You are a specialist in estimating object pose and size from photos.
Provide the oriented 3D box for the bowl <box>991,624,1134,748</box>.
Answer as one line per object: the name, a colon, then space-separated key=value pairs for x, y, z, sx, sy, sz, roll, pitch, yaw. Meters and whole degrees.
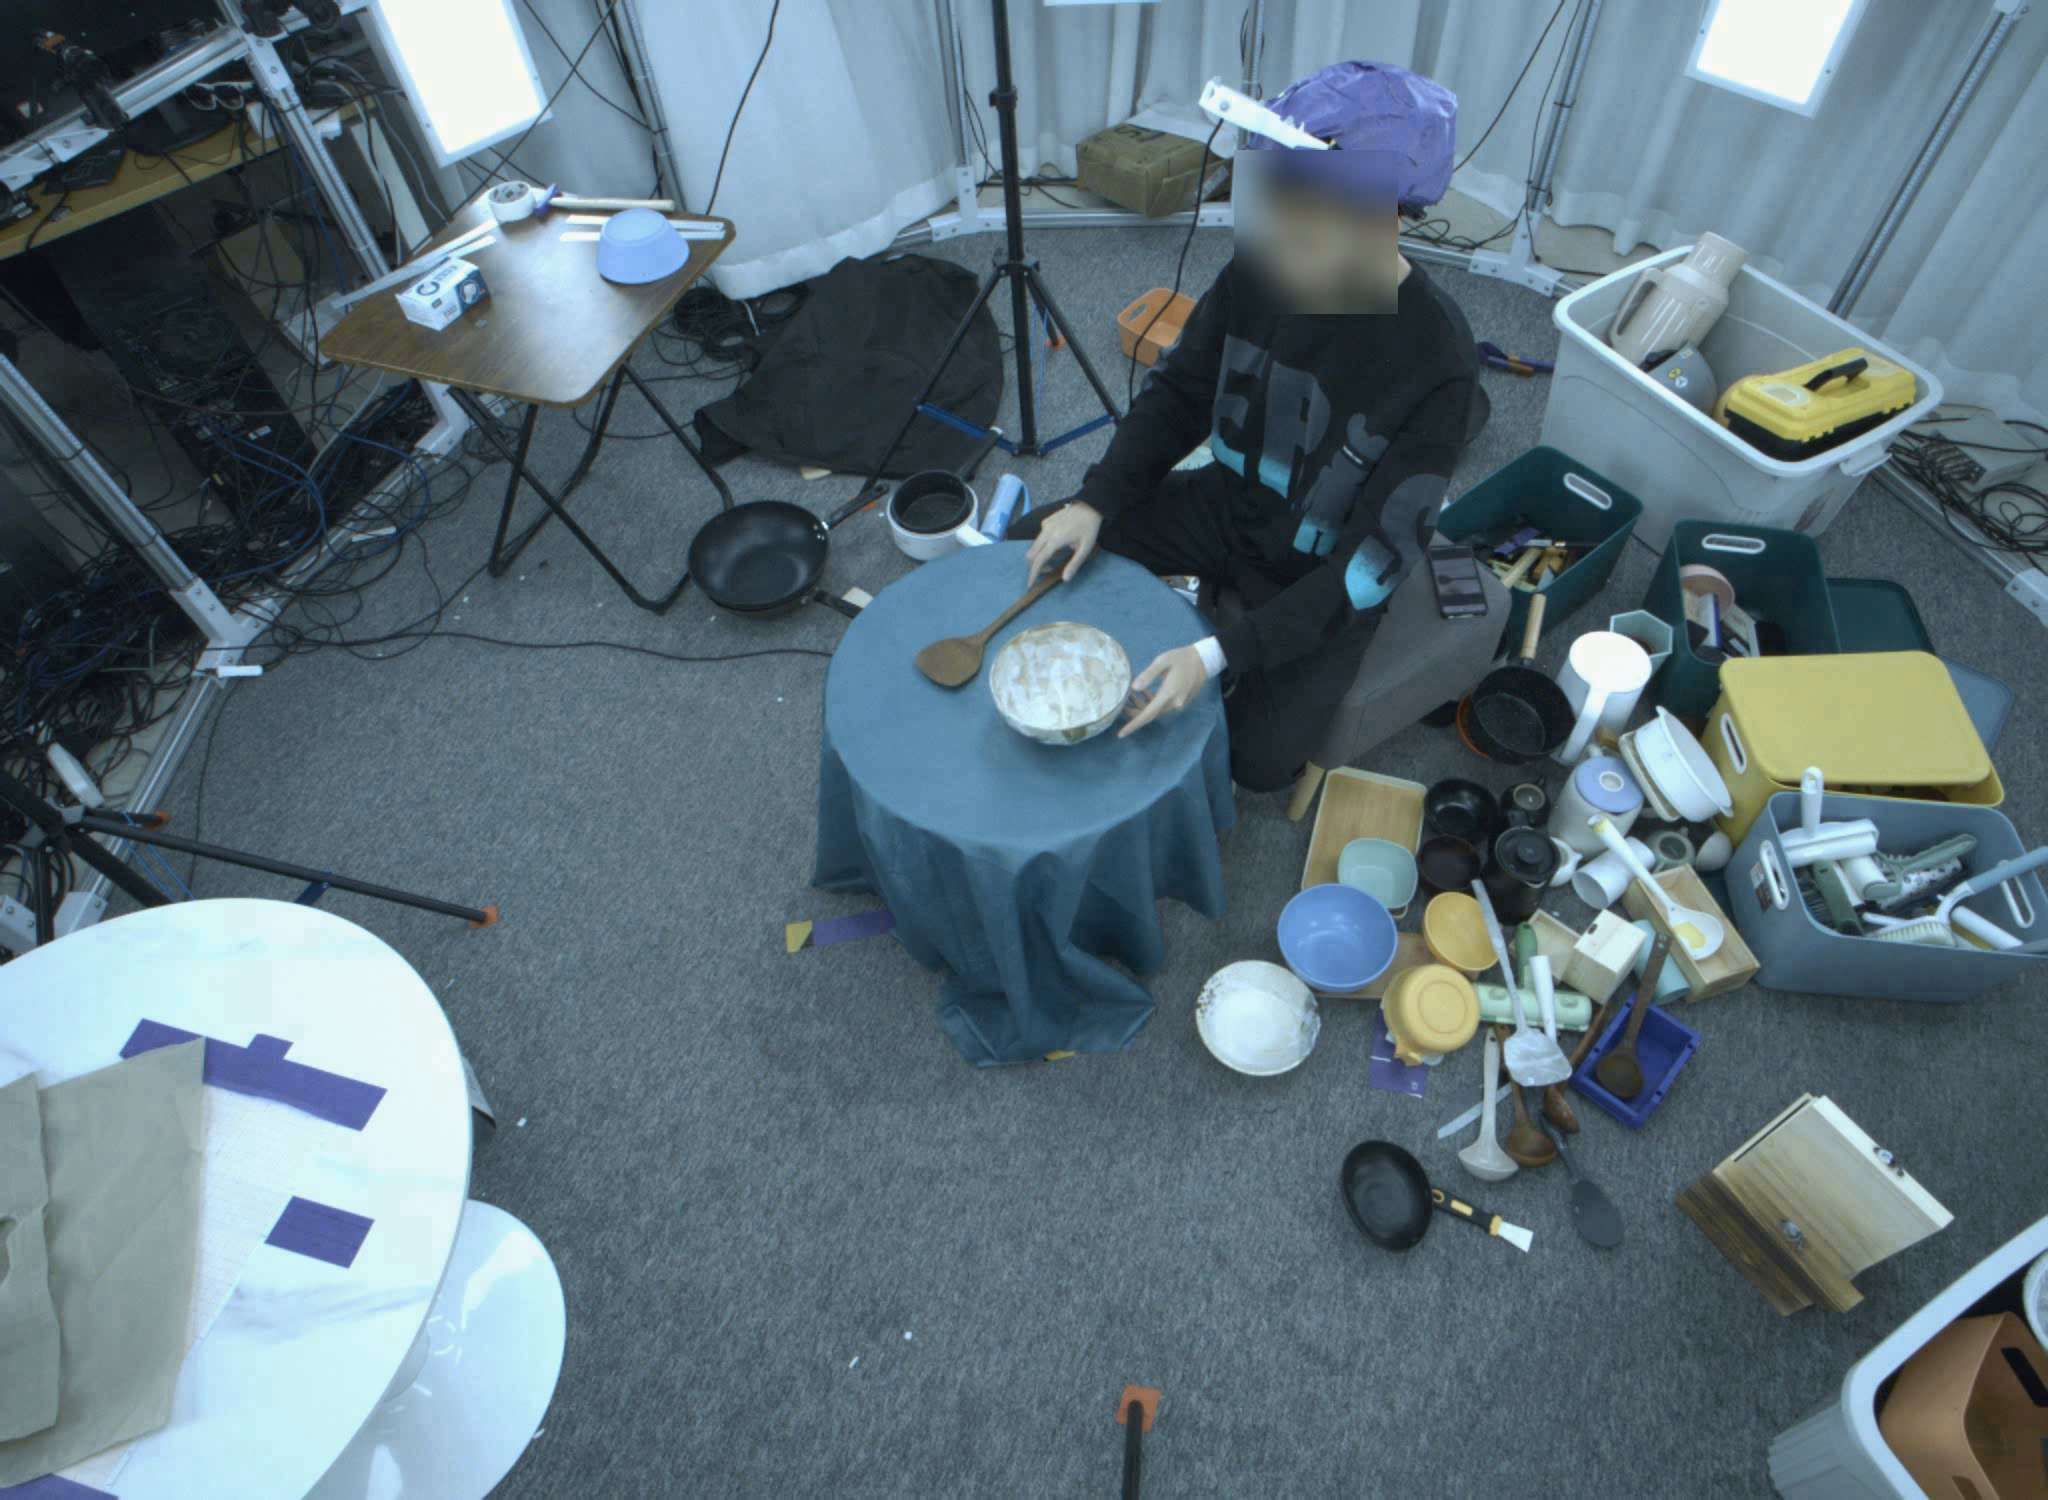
bowl: x=0.060 y=-0.077 z=1.792 sx=0.214 sy=0.095 sz=0.212 roll=-1 pitch=54 yaw=2

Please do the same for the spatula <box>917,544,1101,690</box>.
spatula: x=-0.010 y=-0.222 z=1.945 sx=0.094 sy=0.016 sz=0.388 roll=37 pitch=63 yaw=24
